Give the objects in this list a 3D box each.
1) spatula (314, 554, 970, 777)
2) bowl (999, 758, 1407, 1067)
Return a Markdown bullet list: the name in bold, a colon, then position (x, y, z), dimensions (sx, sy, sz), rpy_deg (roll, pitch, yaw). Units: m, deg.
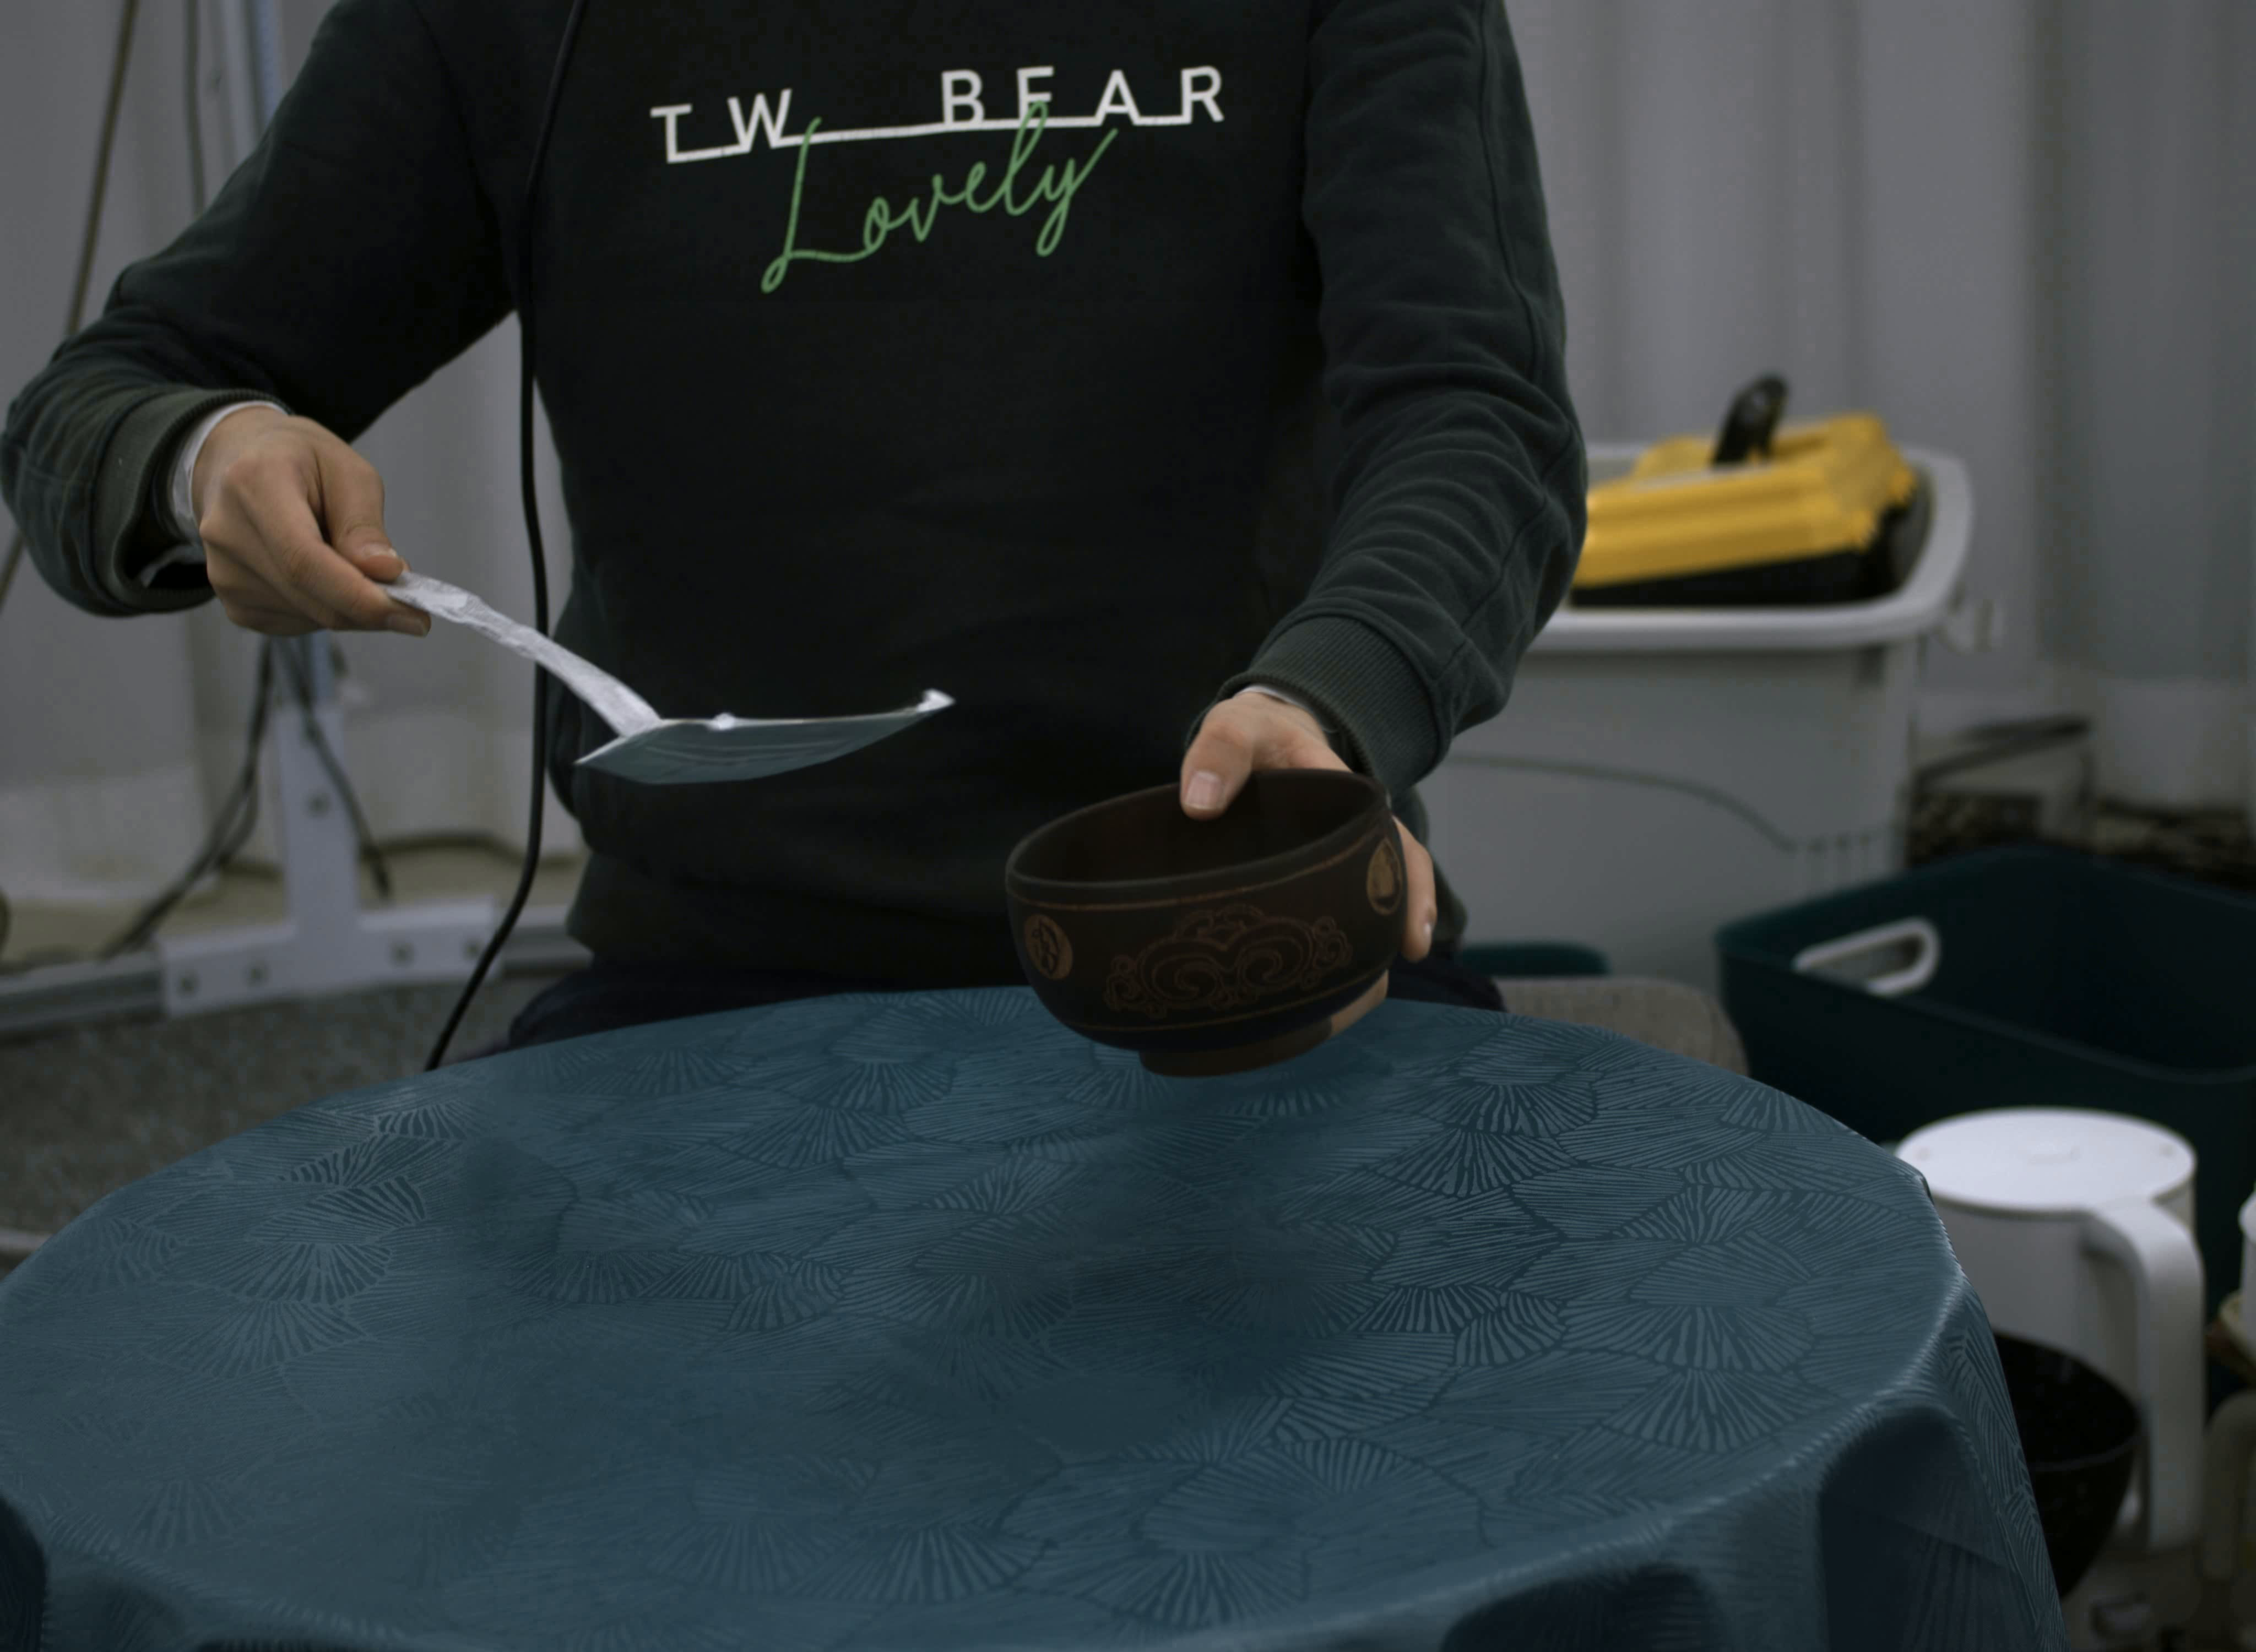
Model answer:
- **spatula**: position (-0.174, -0.060, 1.676), dimensions (0.098, 0.044, 0.368), rpy_deg (-7, 18, -31)
- **bowl**: position (0.024, 0.029, 1.596), dimensions (0.117, 0.069, 0.119), rpy_deg (-8, 14, 2)
